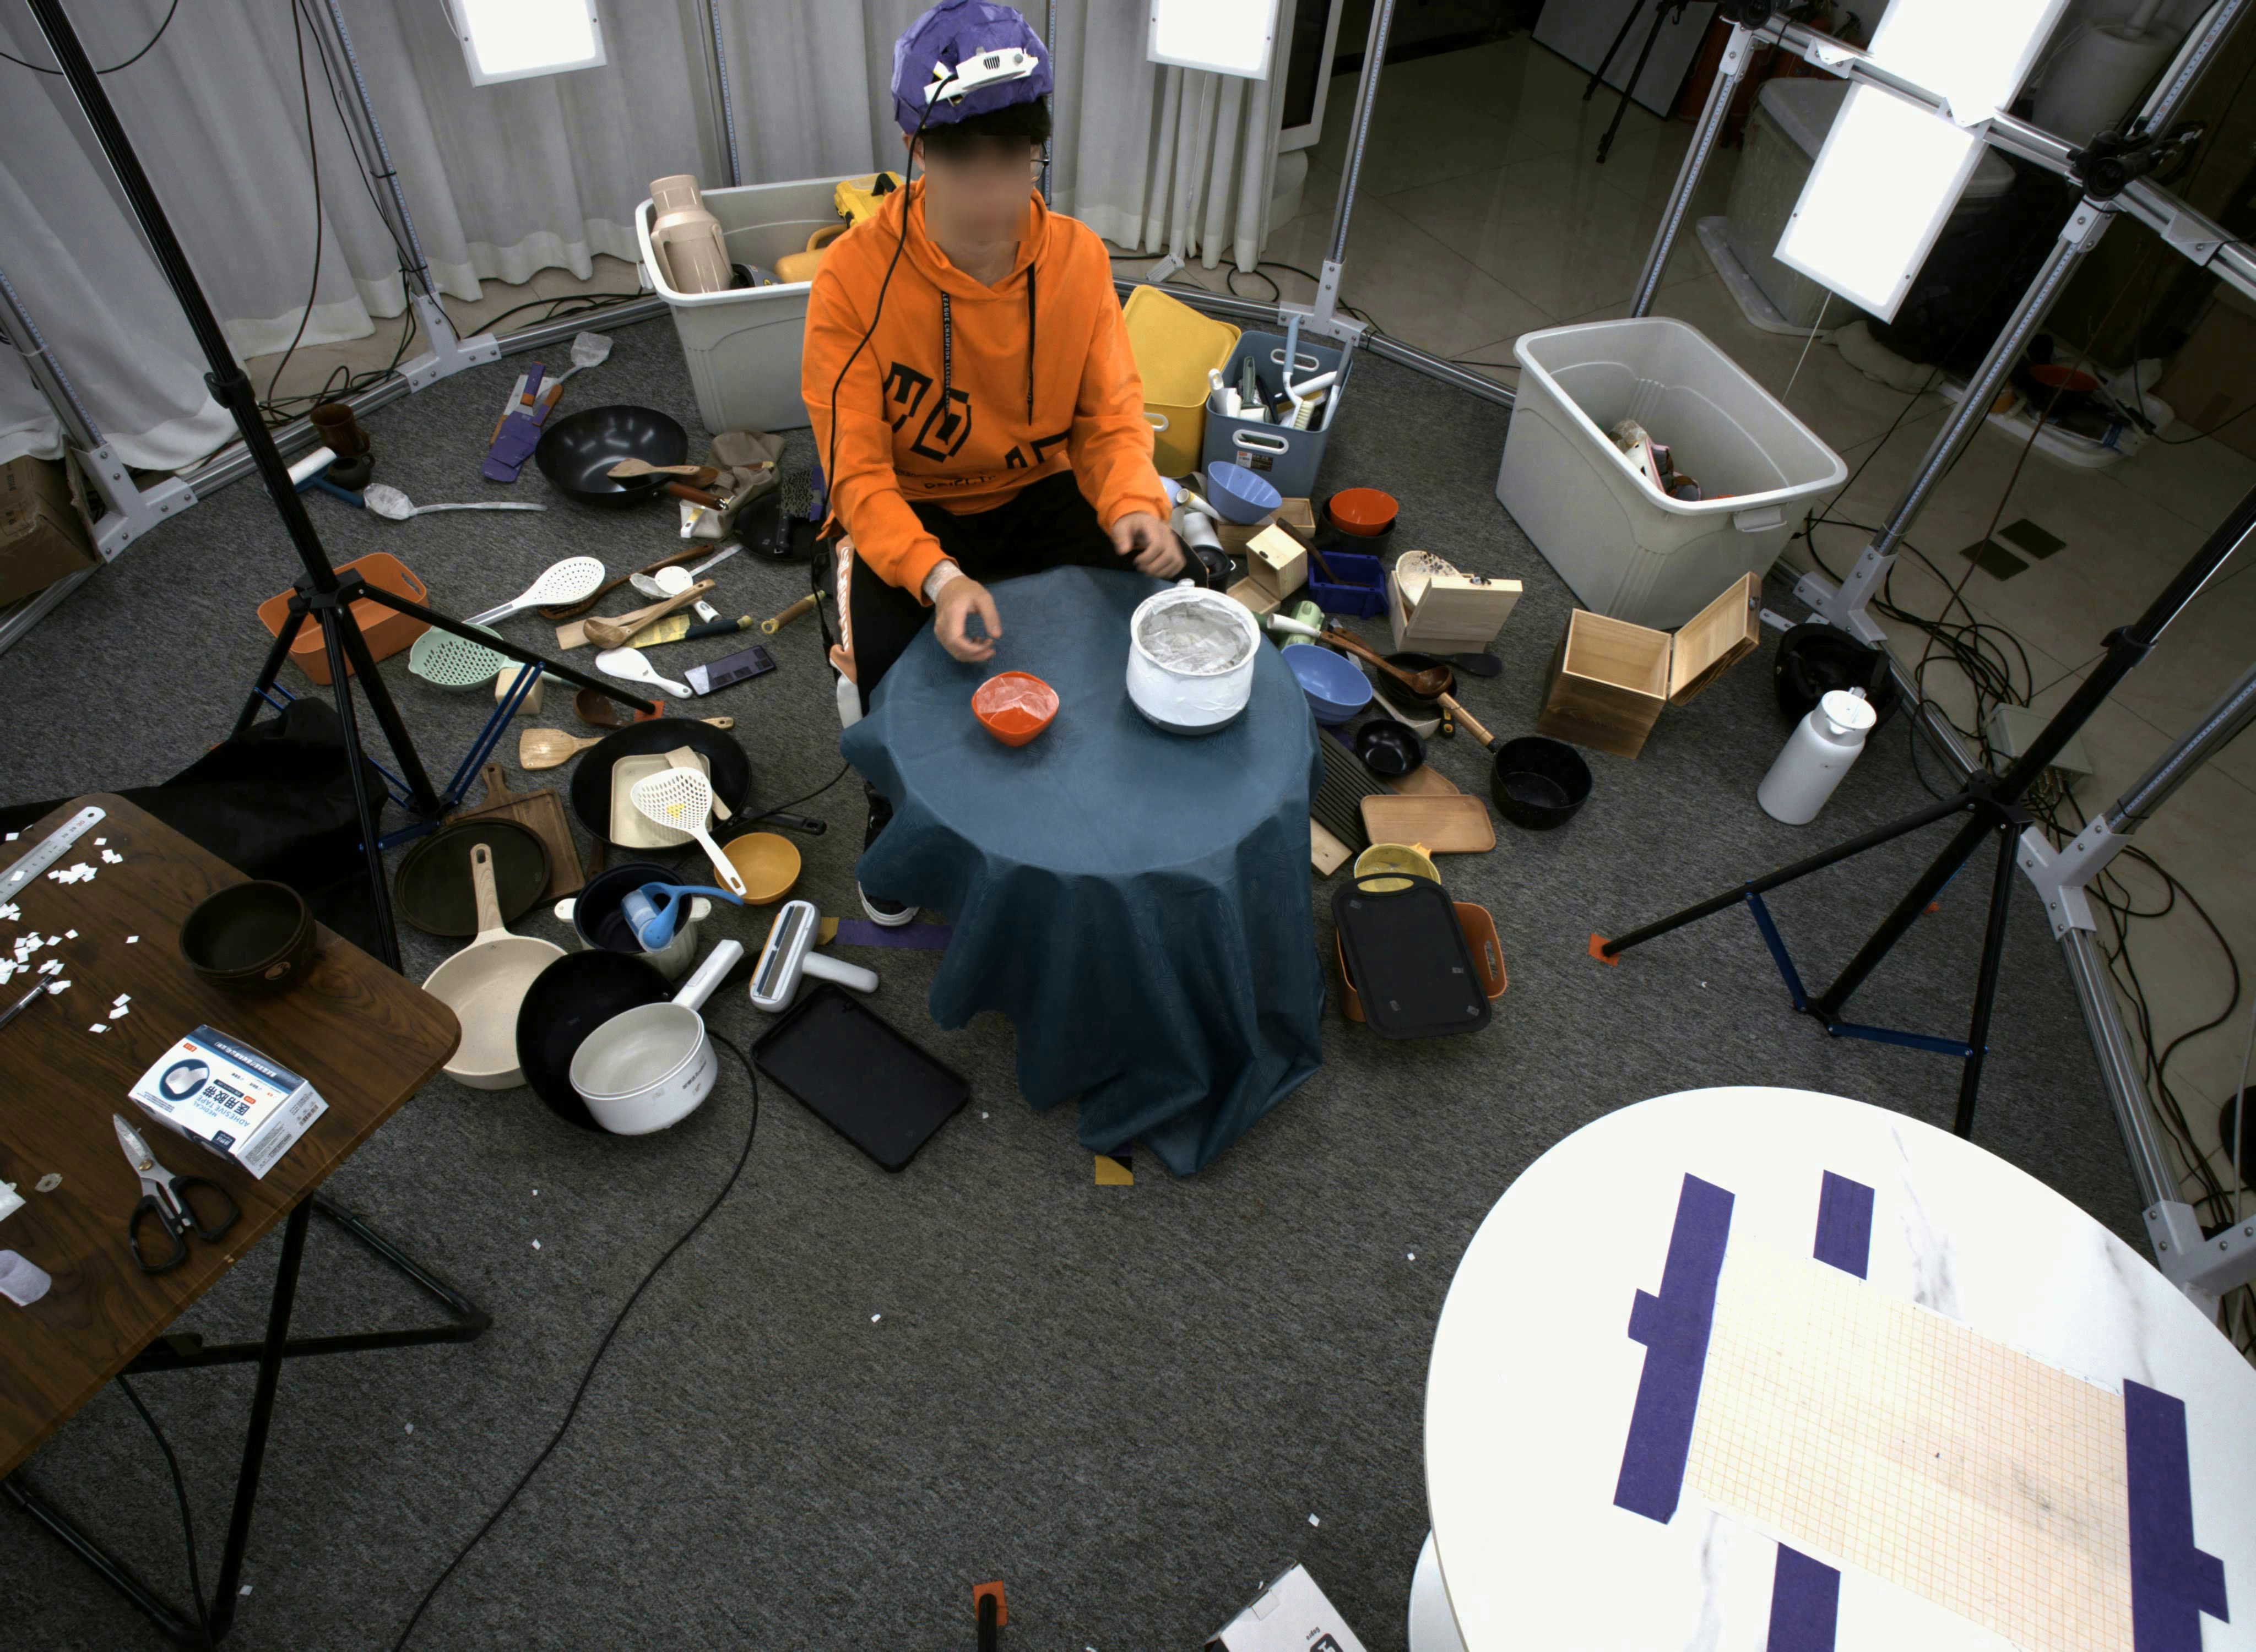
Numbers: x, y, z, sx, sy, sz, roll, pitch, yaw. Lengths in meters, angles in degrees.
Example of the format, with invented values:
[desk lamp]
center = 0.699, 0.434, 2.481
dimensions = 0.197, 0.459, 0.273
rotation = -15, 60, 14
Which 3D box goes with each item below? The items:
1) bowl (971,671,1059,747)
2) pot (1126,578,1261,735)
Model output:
[bowl]
center = -0.155, -0.154, 1.759
dimensions = 0.119, 0.050, 0.122
rotation = 1, 50, -2
[pot]
center = 0.084, -0.247, 1.800
dimensions = 0.178, 0.133, 0.239
rotation = -2, 50, -6
